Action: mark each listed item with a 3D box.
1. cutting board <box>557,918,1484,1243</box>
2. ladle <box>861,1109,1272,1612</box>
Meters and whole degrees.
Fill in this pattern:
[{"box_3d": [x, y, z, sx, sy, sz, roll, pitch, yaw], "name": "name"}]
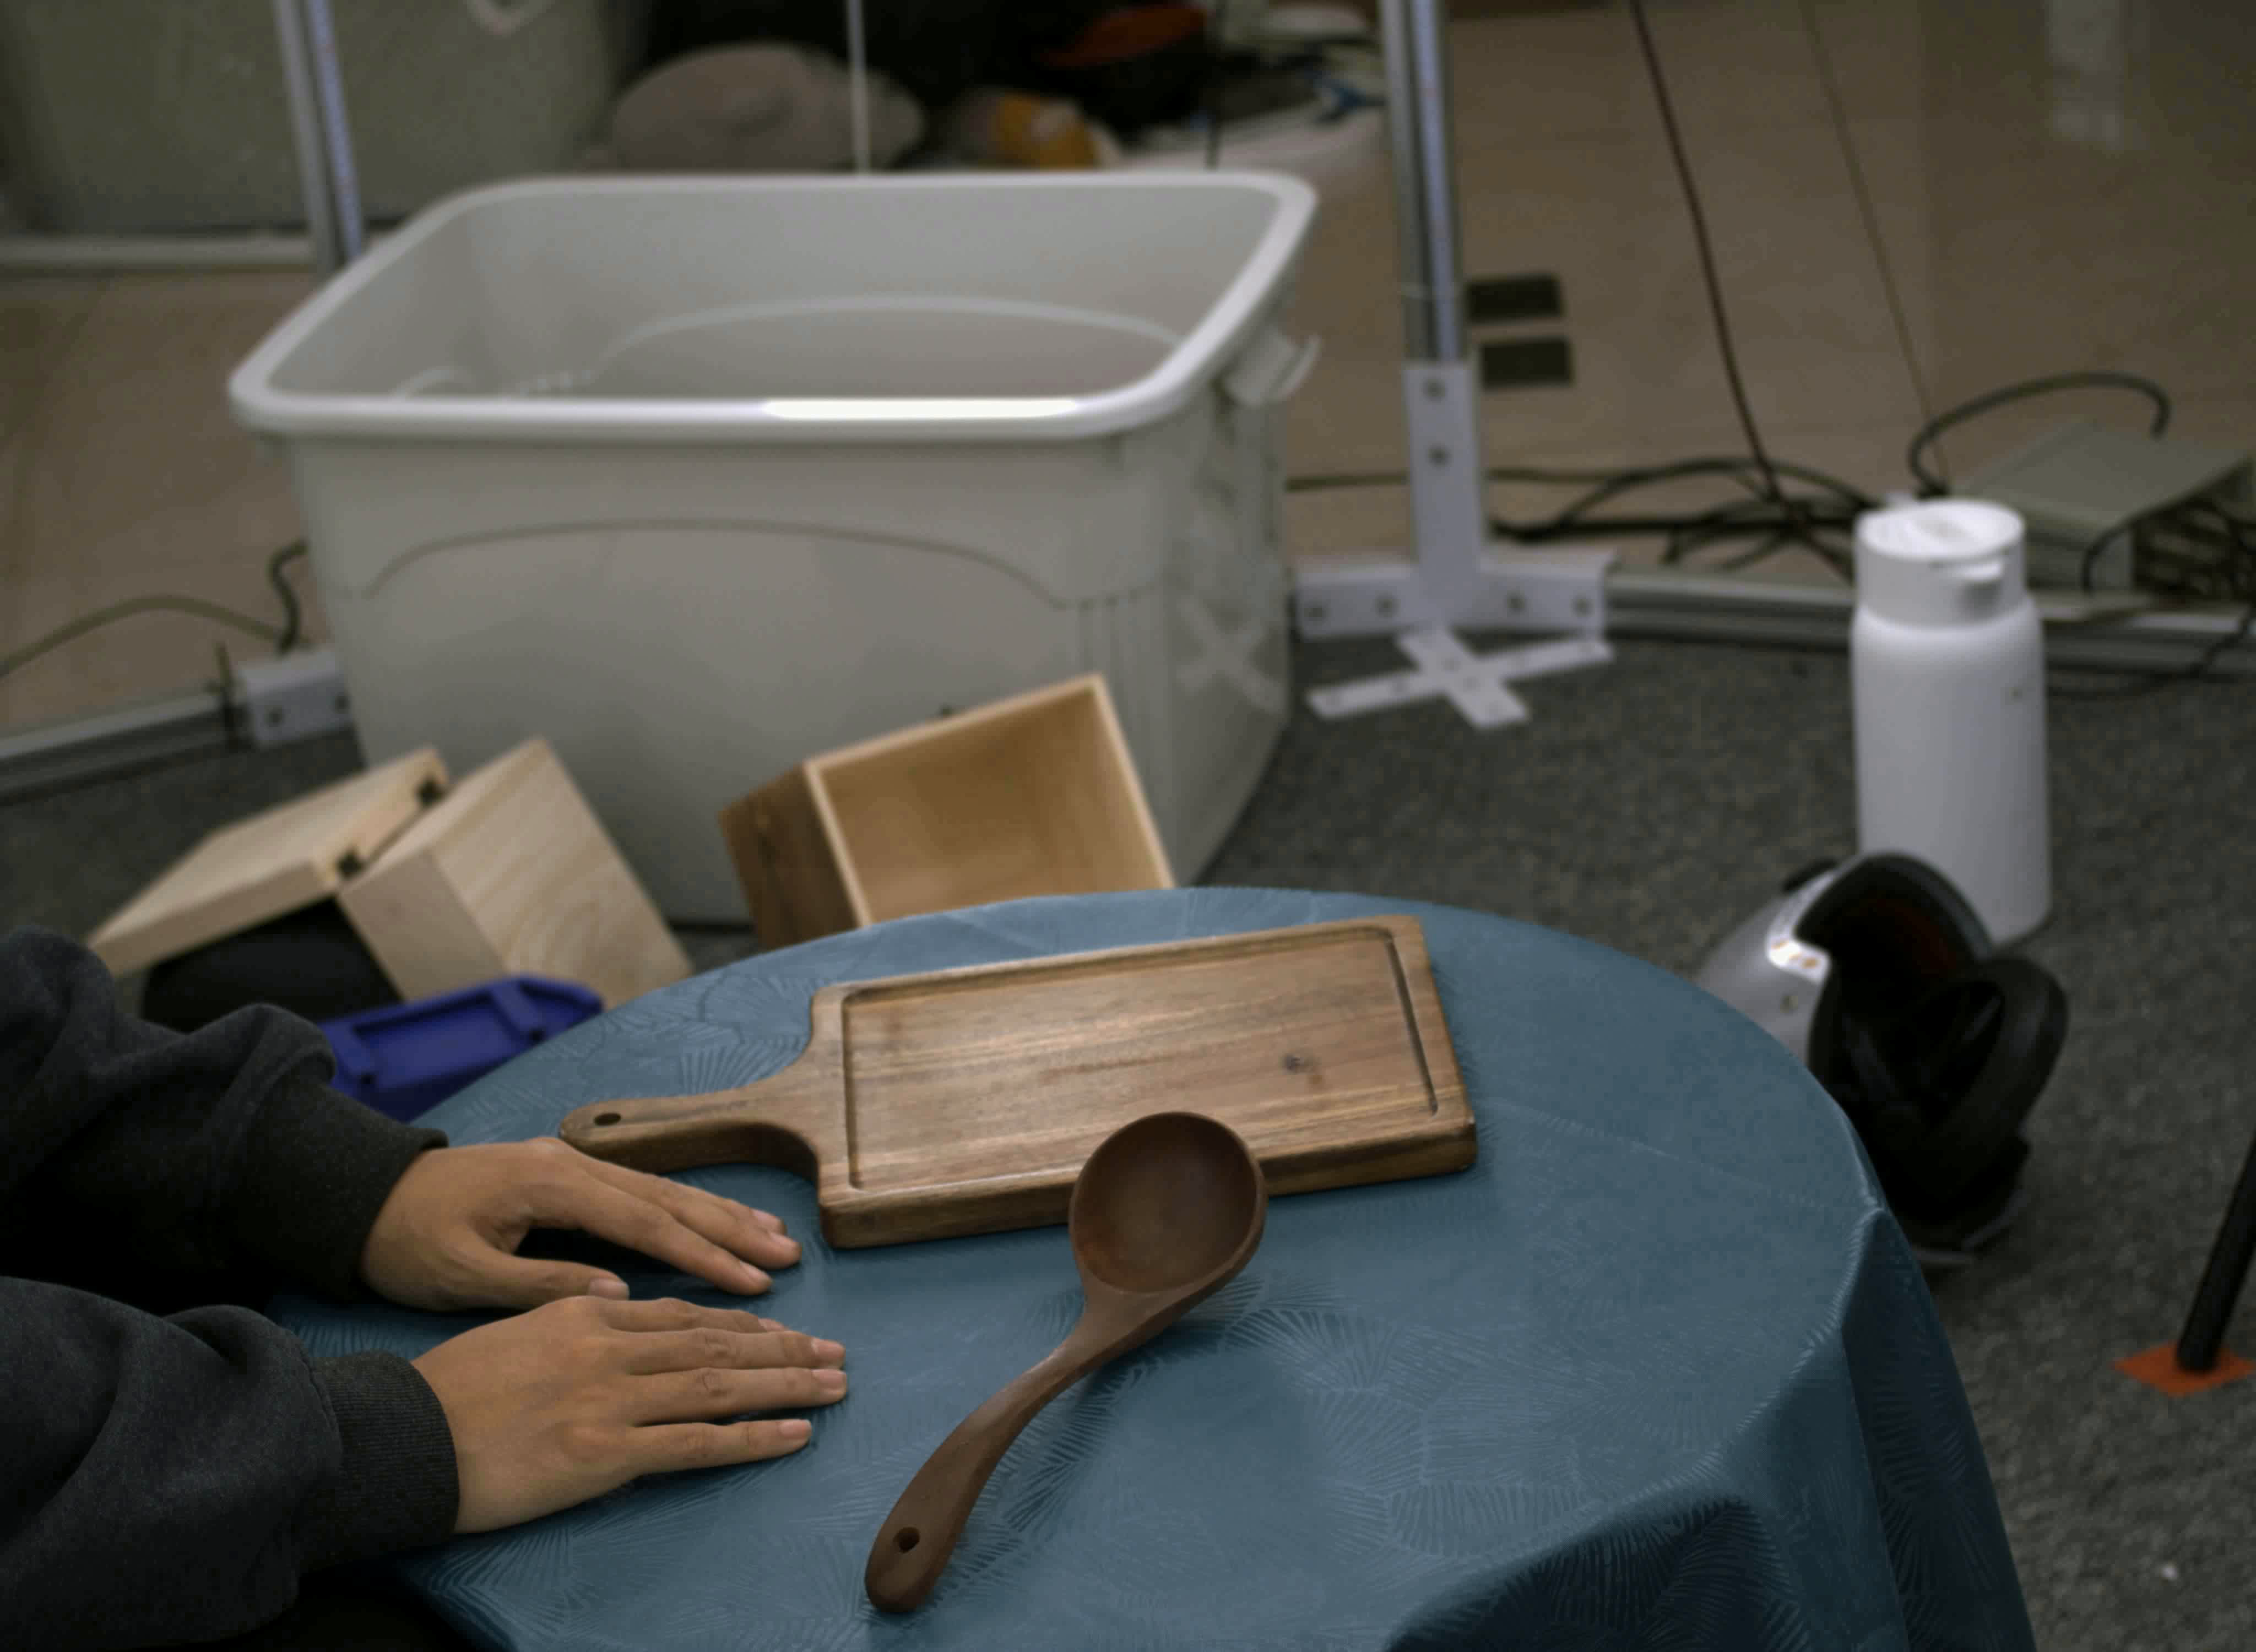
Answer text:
[{"box_3d": [-0.047, 0.102, 2.210, 0.351, 0.023, 0.198, -7, 23, -2], "name": "cutting board"}, {"box_3d": [-0.028, 0.182, 1.984, 0.076, 0.066, 0.257, 3, 27, 29], "name": "ladle"}]
